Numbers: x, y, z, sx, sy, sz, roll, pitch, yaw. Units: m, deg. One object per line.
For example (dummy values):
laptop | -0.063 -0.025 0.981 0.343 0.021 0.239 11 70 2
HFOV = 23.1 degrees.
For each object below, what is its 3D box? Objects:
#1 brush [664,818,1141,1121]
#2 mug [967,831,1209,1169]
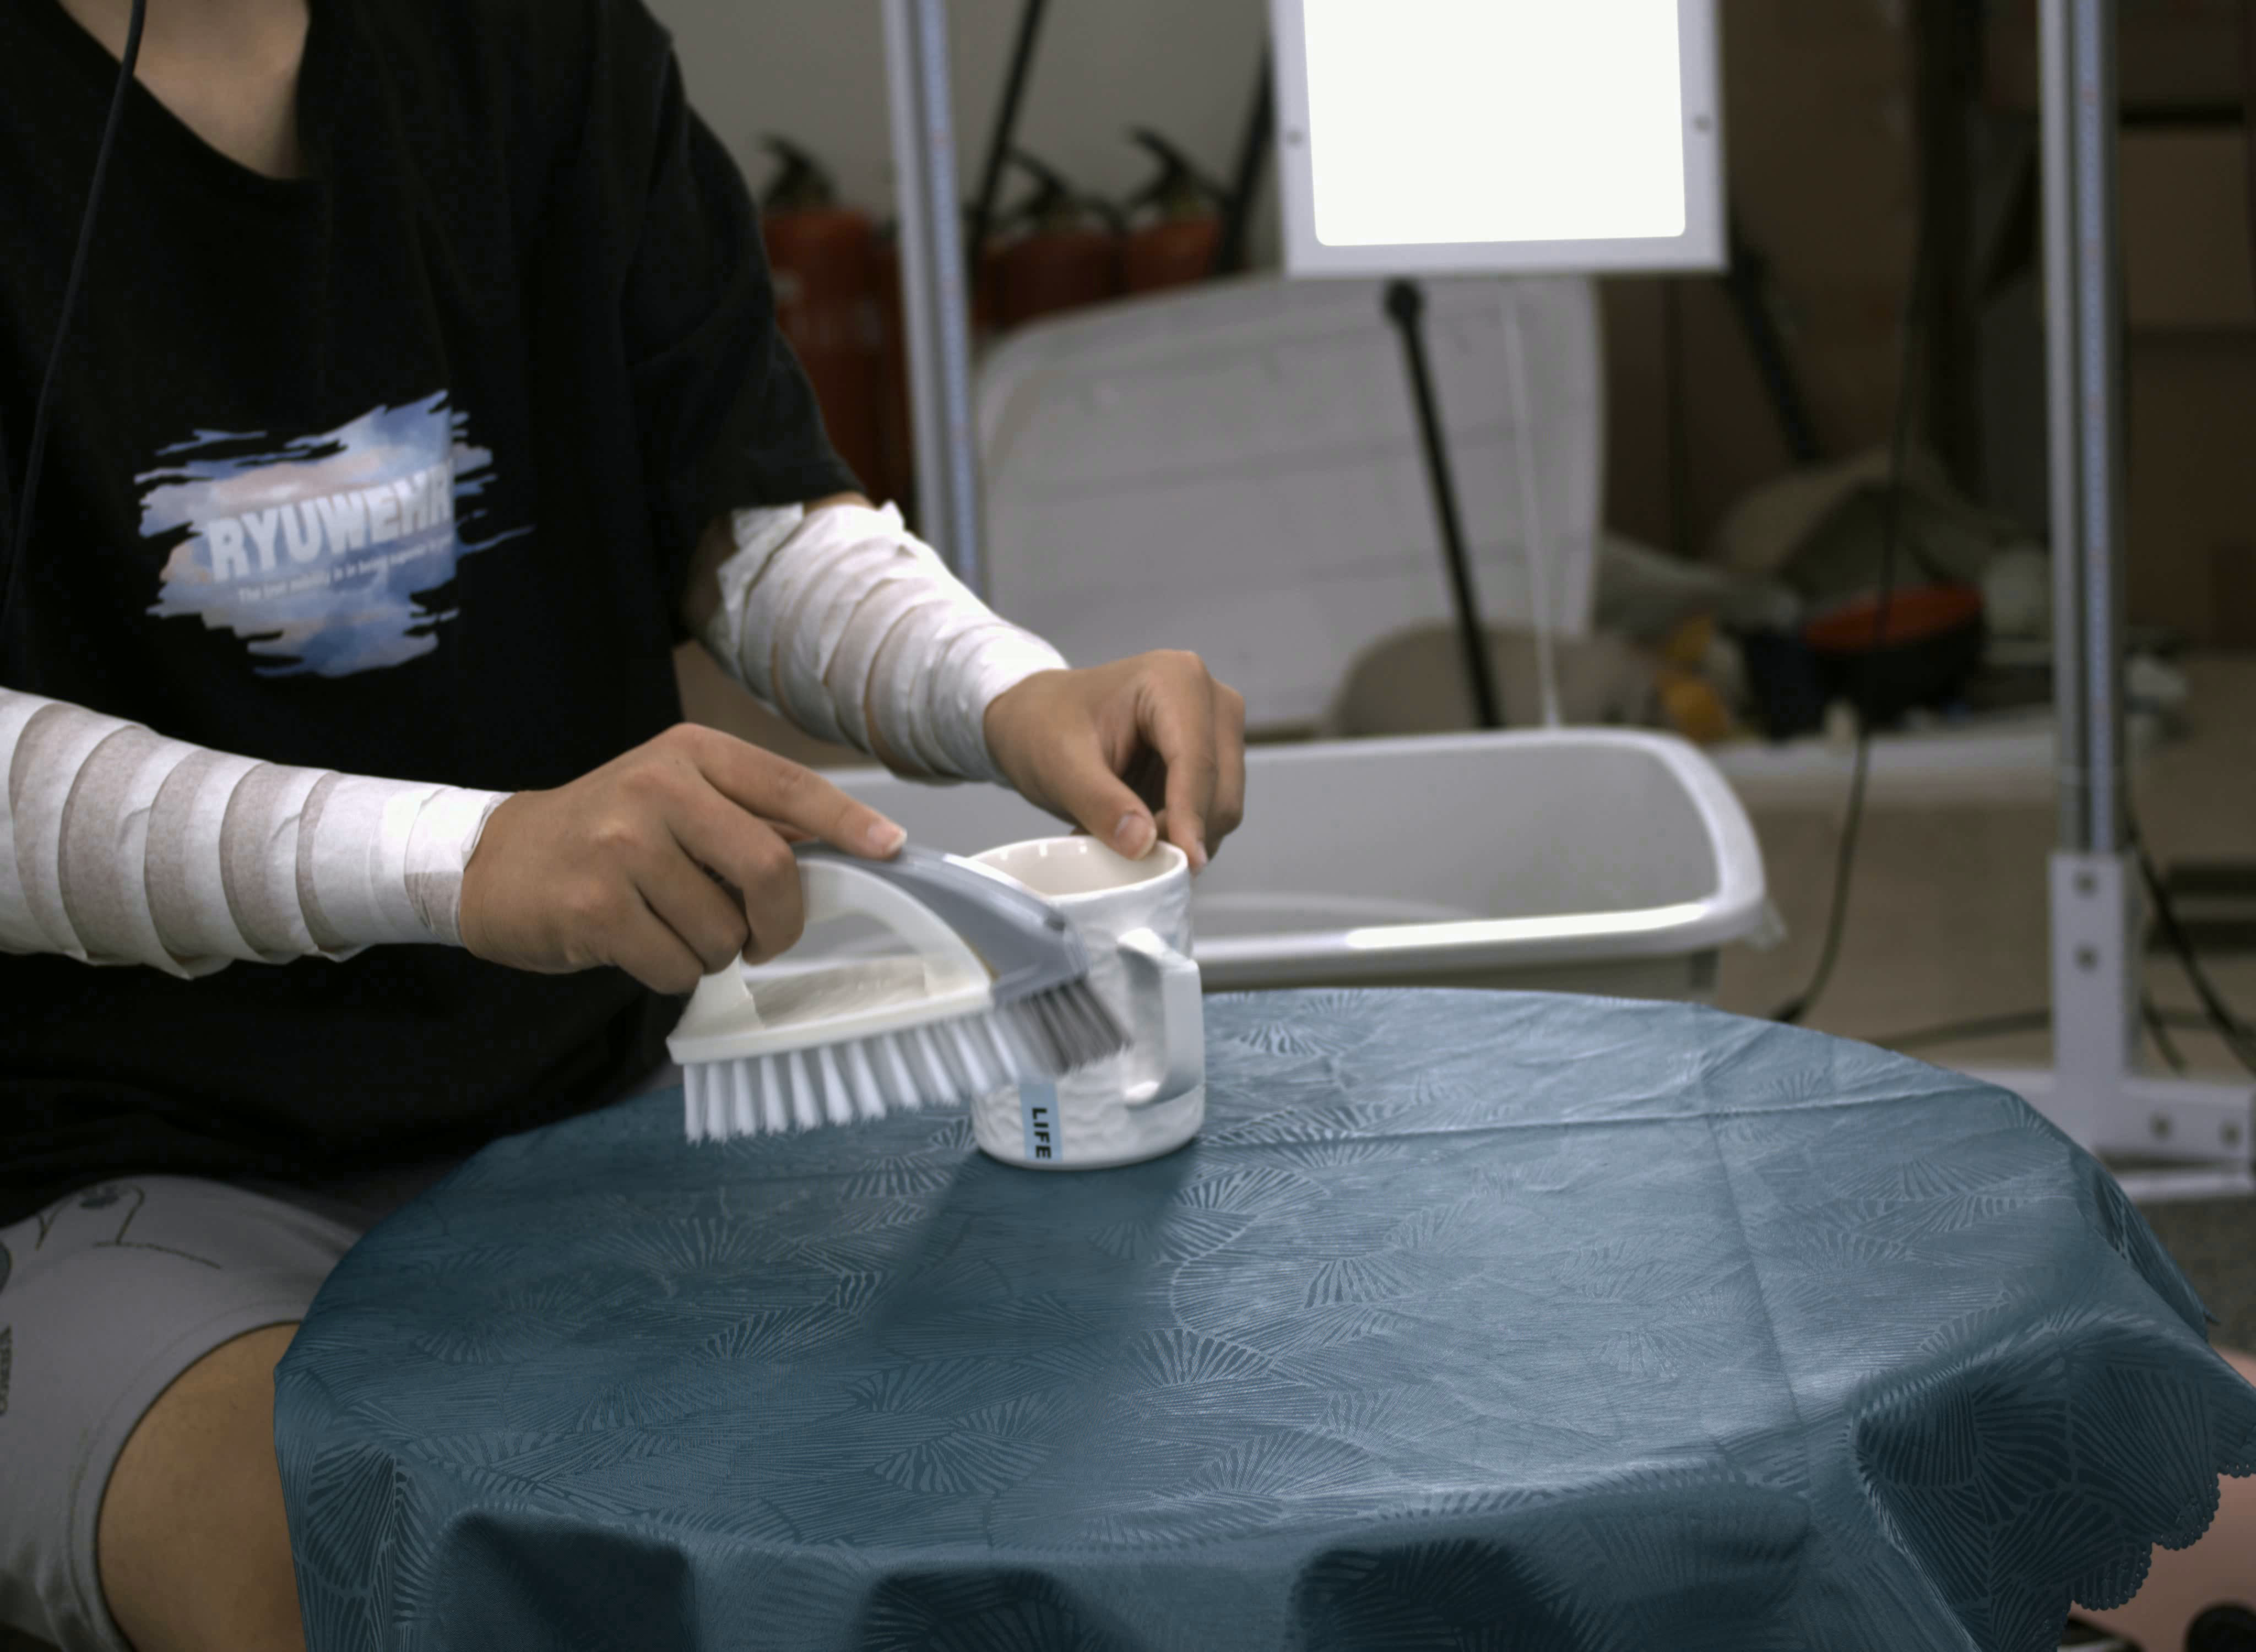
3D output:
brush | -0.080 0.039 1.808 0.179 0.094 0.060 -8 23 39
mug | -0.008 0.064 1.938 0.083 0.102 0.120 -13 17 -30
